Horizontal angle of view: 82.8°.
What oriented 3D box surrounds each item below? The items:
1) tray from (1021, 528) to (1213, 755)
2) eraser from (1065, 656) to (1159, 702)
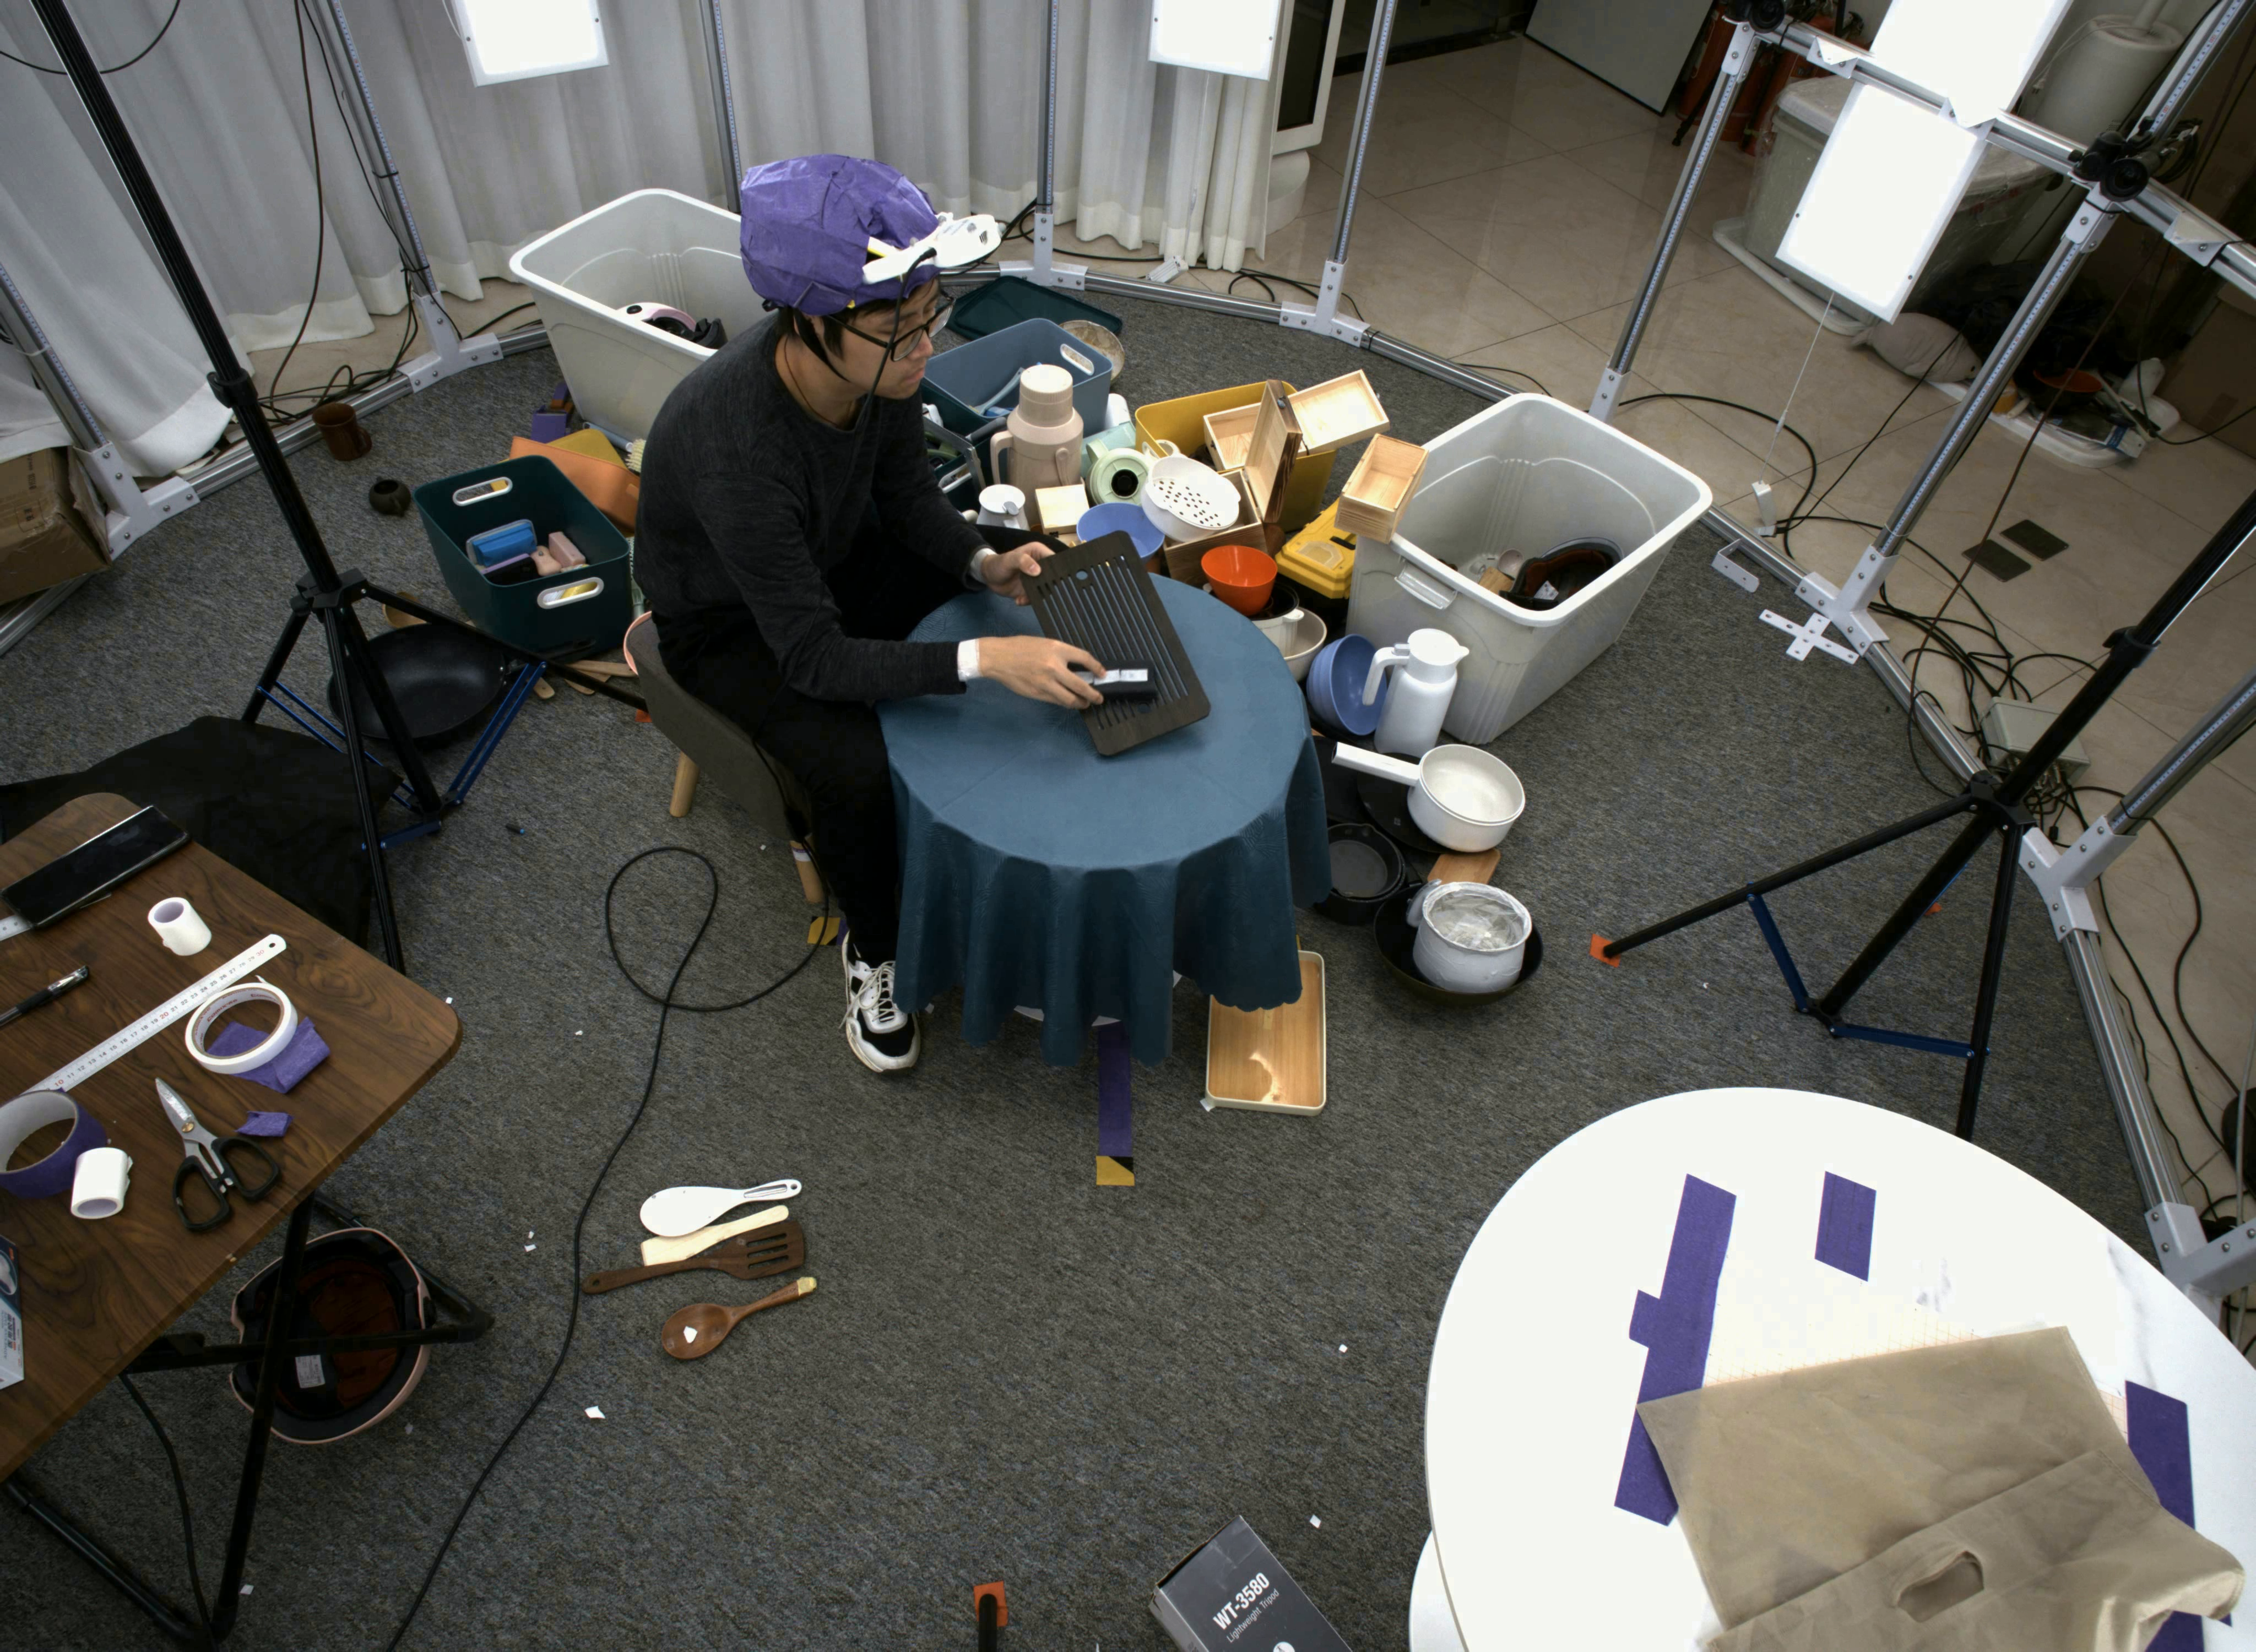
[{"bbox_3d":[-0.017,-0.260,1.796,0.170,0.018,0.310,-22,75,-7],"label":"tray"},{"bbox_3d":[-0.022,-0.202,1.757,0.125,0.030,0.054,-4,71,0],"label":"eraser"}]
